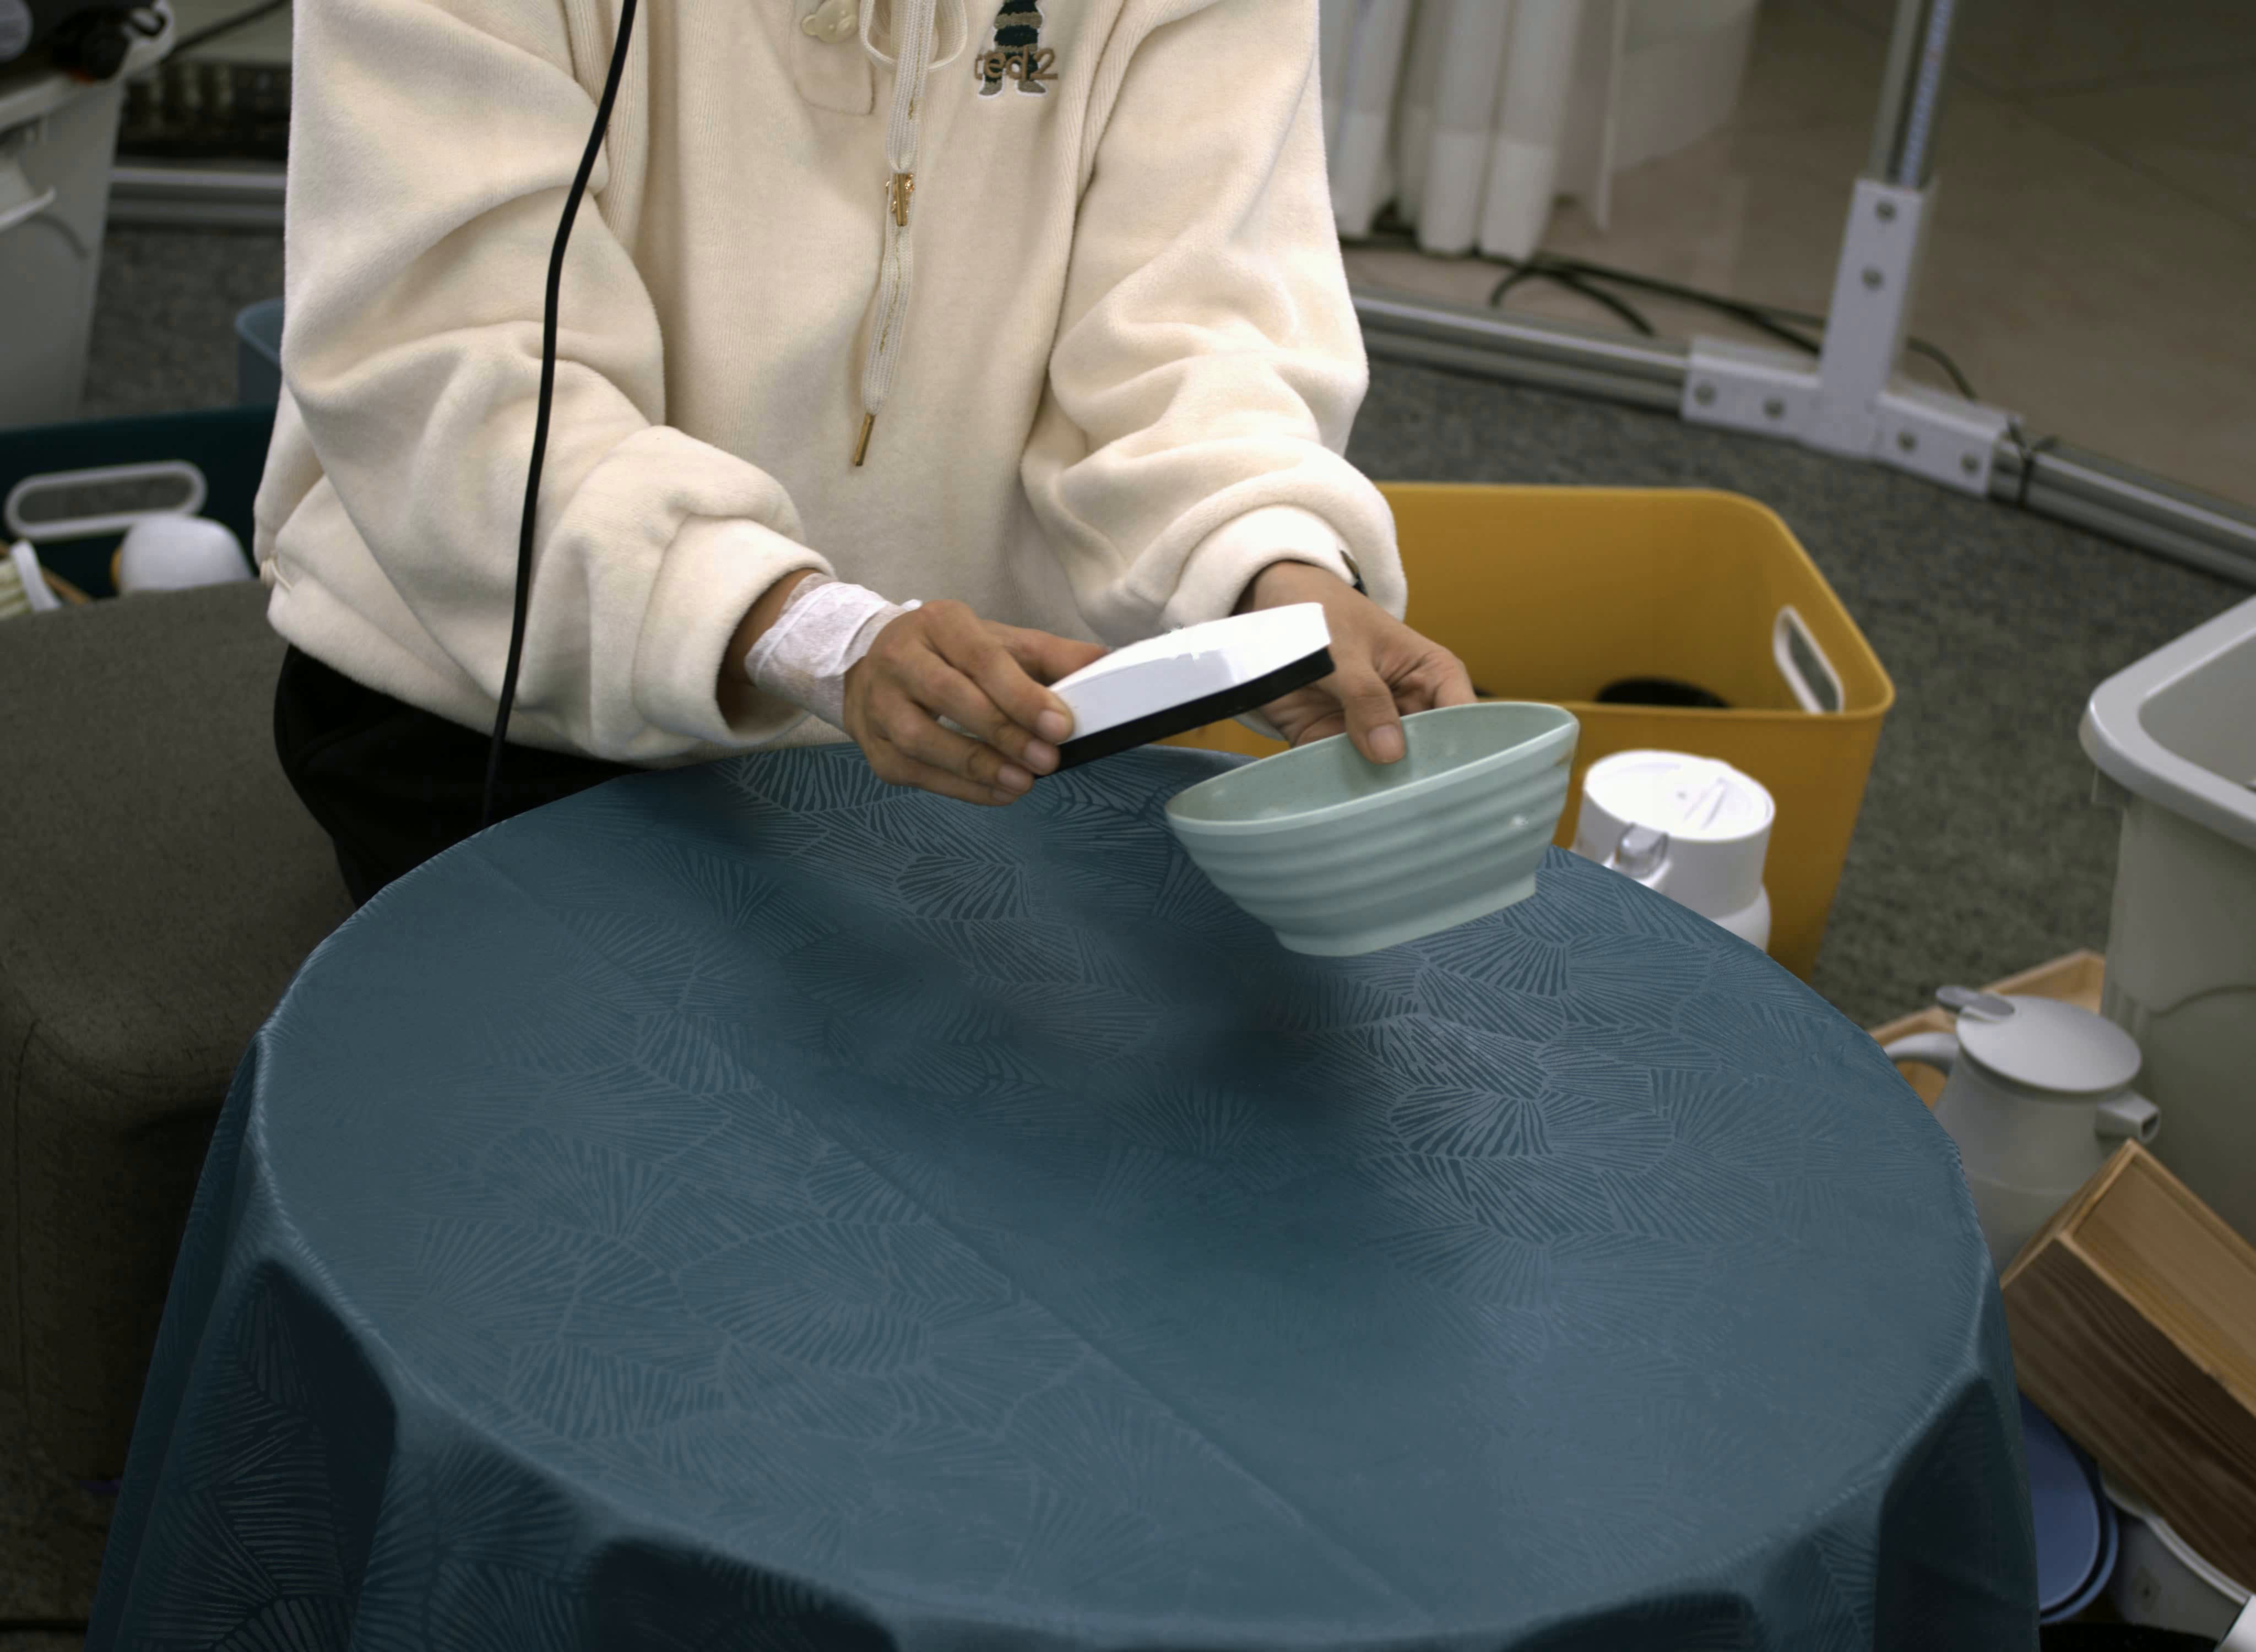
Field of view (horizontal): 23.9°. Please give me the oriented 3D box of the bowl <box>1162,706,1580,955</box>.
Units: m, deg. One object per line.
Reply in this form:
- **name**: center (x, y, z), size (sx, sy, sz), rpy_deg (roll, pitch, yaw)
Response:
- **bowl**: center (0.089, 0.004, 1.846), size (0.151, 0.058, 0.152), rpy_deg (-12, 10, 2)

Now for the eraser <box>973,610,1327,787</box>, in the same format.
- **eraser**: center (0.008, -0.048, 1.860), size (0.131, 0.034, 0.063), rpy_deg (-17, 5, 41)
